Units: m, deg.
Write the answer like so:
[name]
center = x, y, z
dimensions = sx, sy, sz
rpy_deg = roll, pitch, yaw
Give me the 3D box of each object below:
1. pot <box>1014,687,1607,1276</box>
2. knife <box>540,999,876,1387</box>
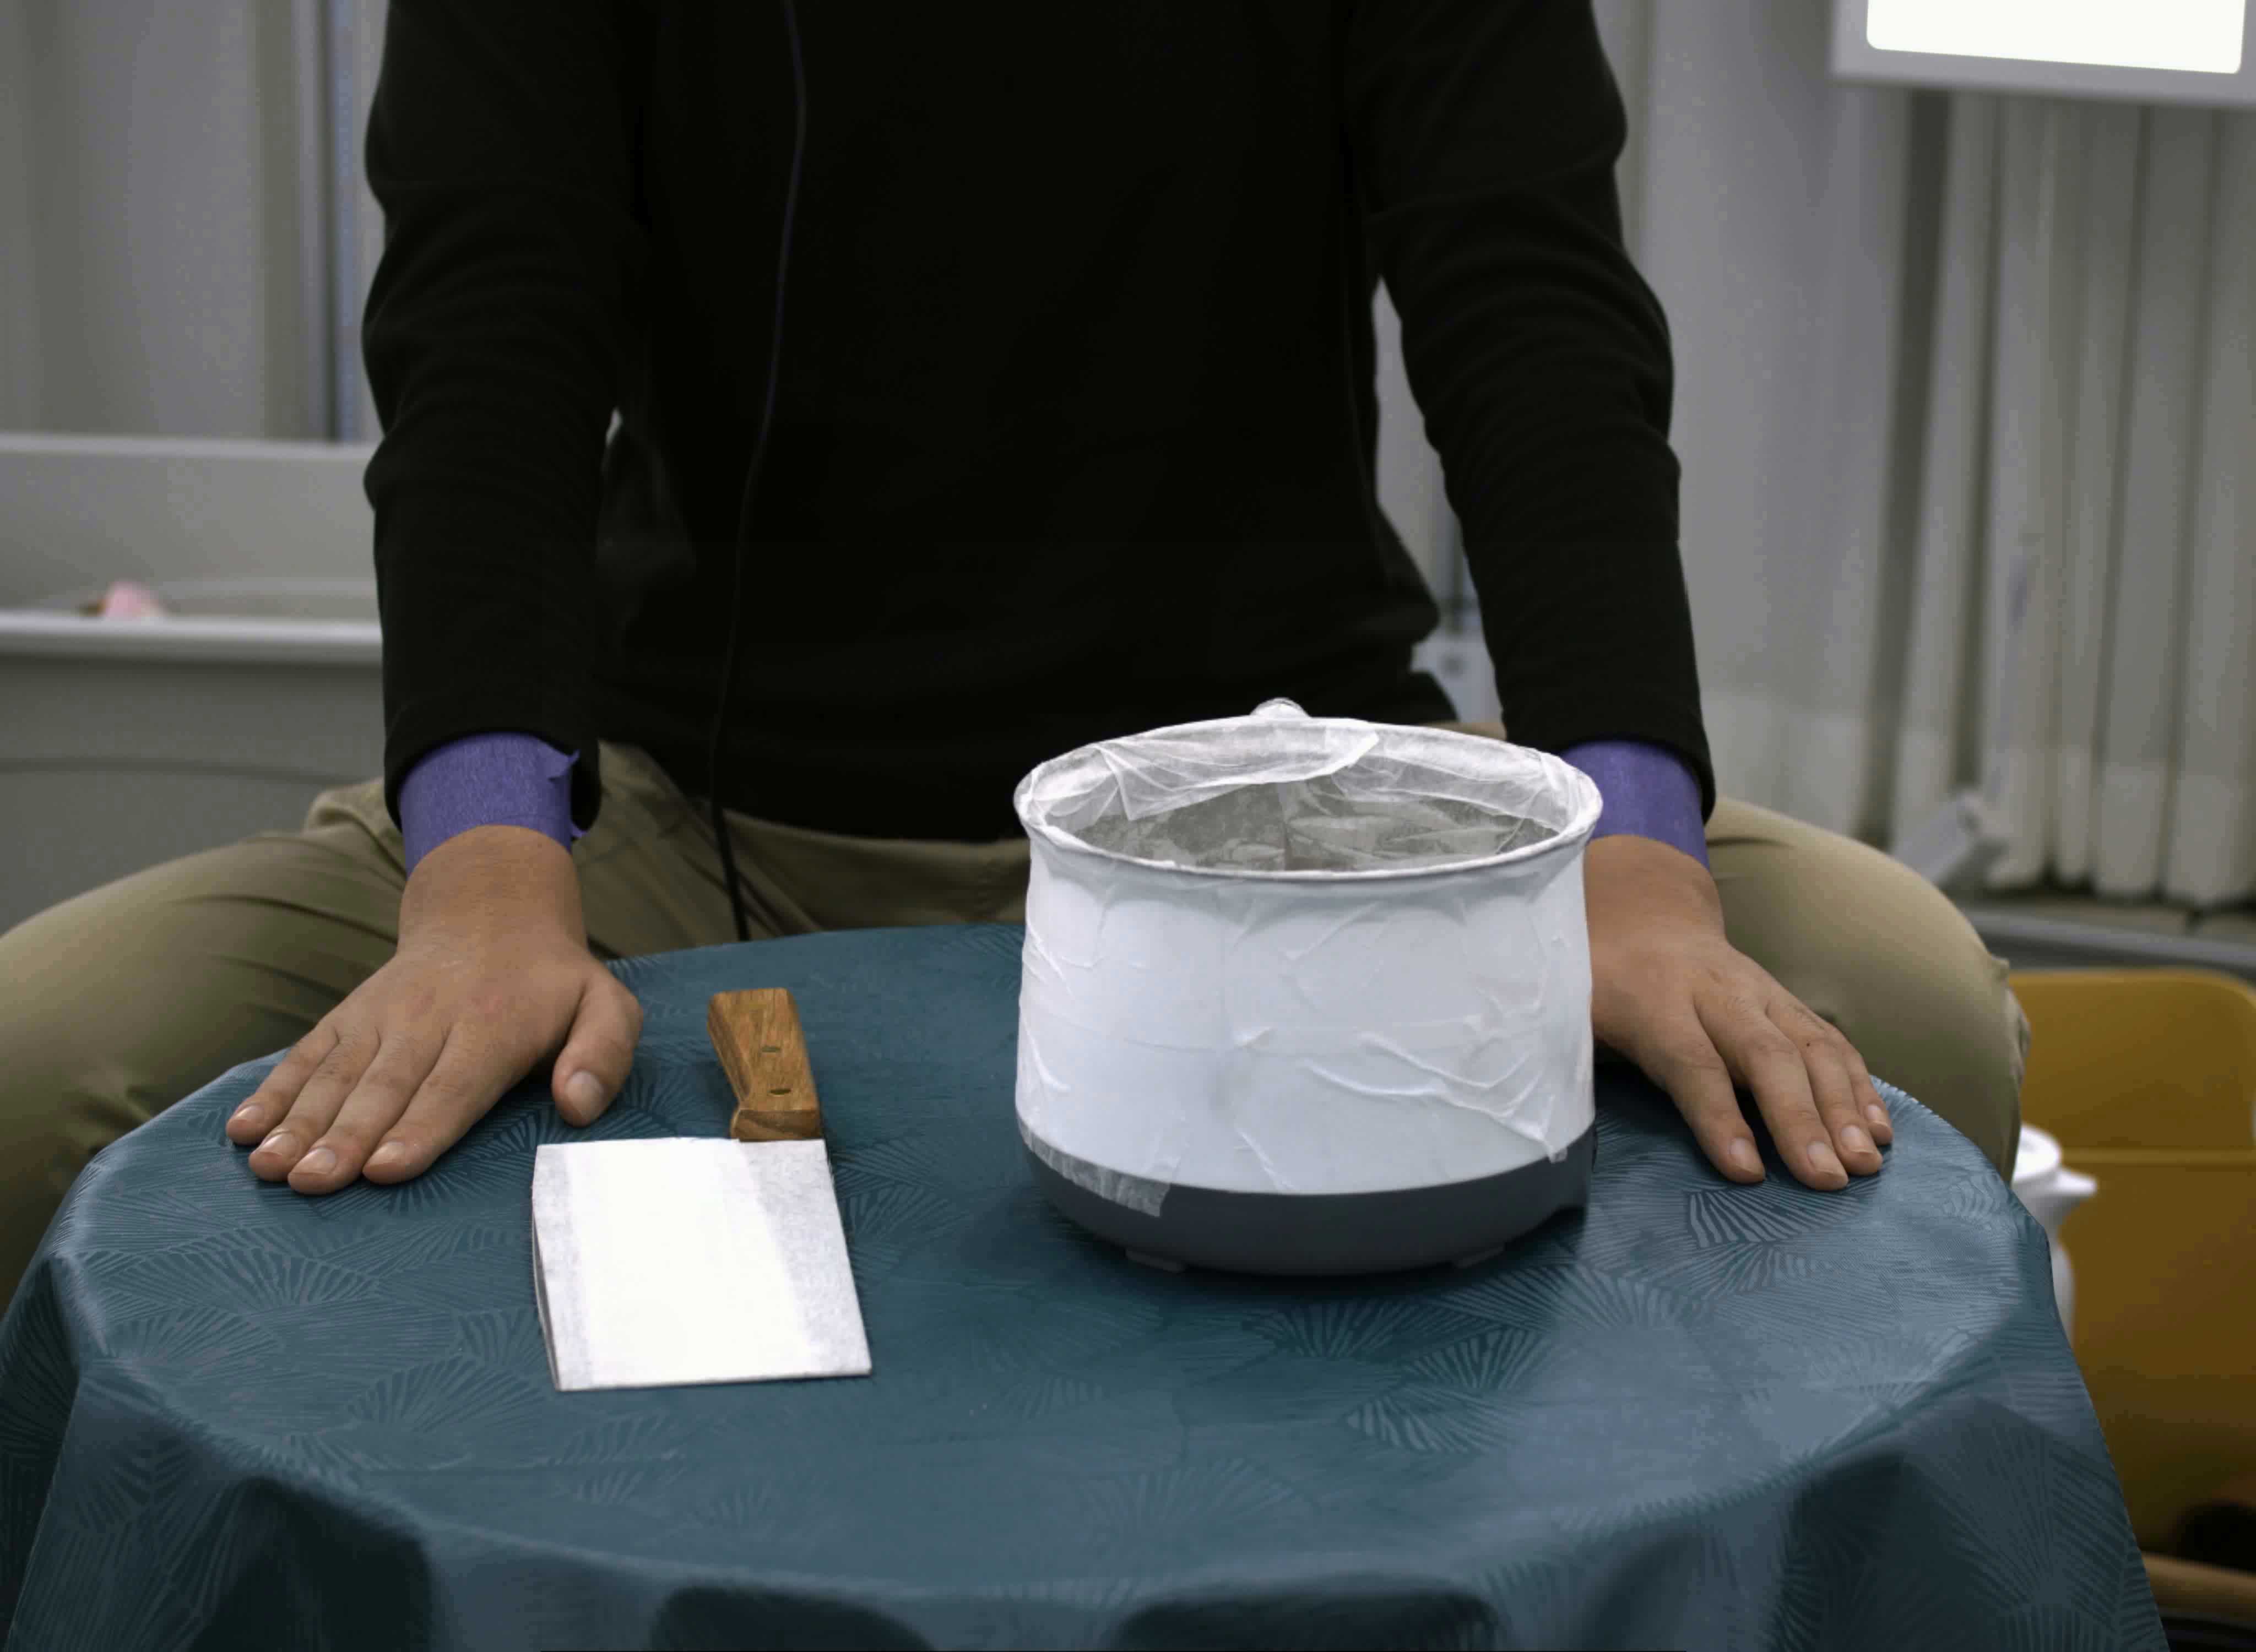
[pot]
center = 0.051, 0.042, 1.614
dimensions = 0.178, 0.138, 0.232
rpy_deg = 0, 17, -5
[knife]
center = -0.132, 0.110, 1.604
dimensions = 0.093, 0.021, 0.303
rpy_deg = -1, 17, -7
